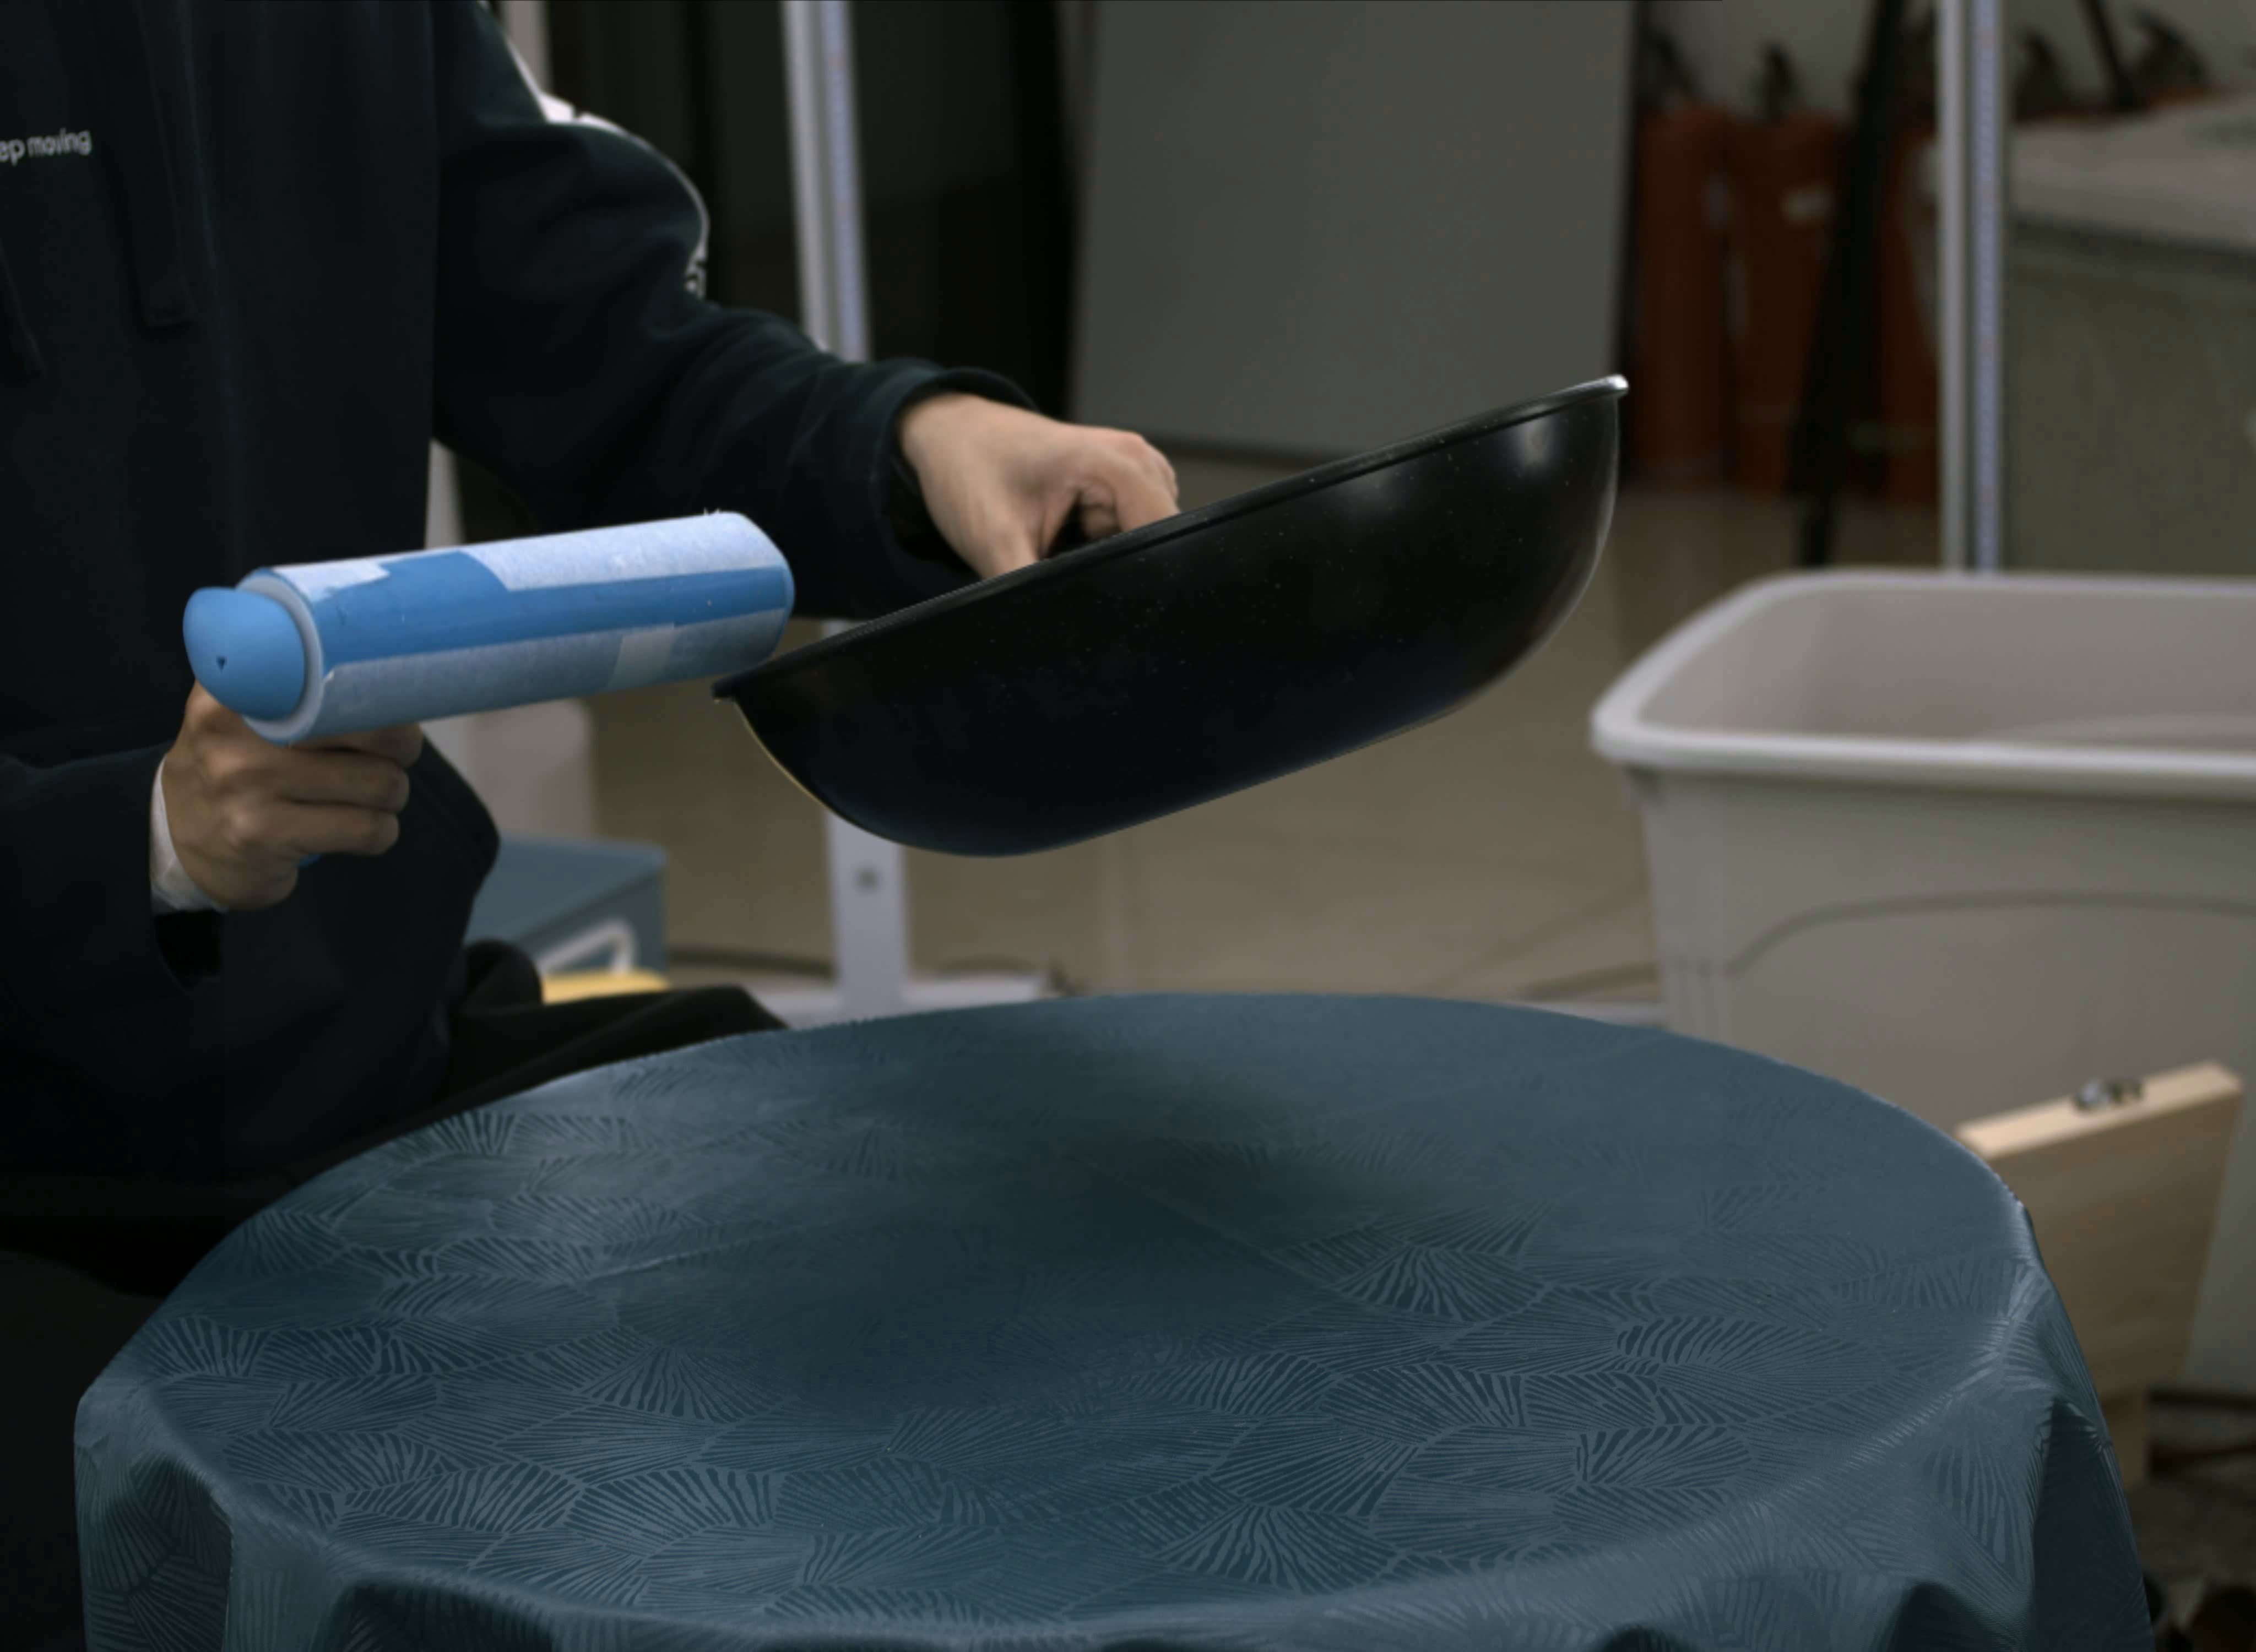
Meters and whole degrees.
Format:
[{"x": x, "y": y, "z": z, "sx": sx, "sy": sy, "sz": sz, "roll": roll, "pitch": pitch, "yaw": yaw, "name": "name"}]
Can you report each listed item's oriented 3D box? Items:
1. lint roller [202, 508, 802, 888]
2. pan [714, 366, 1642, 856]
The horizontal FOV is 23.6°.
[{"x": -0.230, "y": -0.043, "z": 1.755, "sx": 0.182, "sy": 0.069, "sz": 0.224, "roll": -30, "pitch": -12, "yaw": 40, "name": "lint roller"}, {"x": 0.011, "y": -0.064, "z": 1.786, "sx": 0.306, "sy": 0.113, "sz": 0.478, "roll": -18, "pitch": 0, "yaw": -9, "name": "pan"}]
